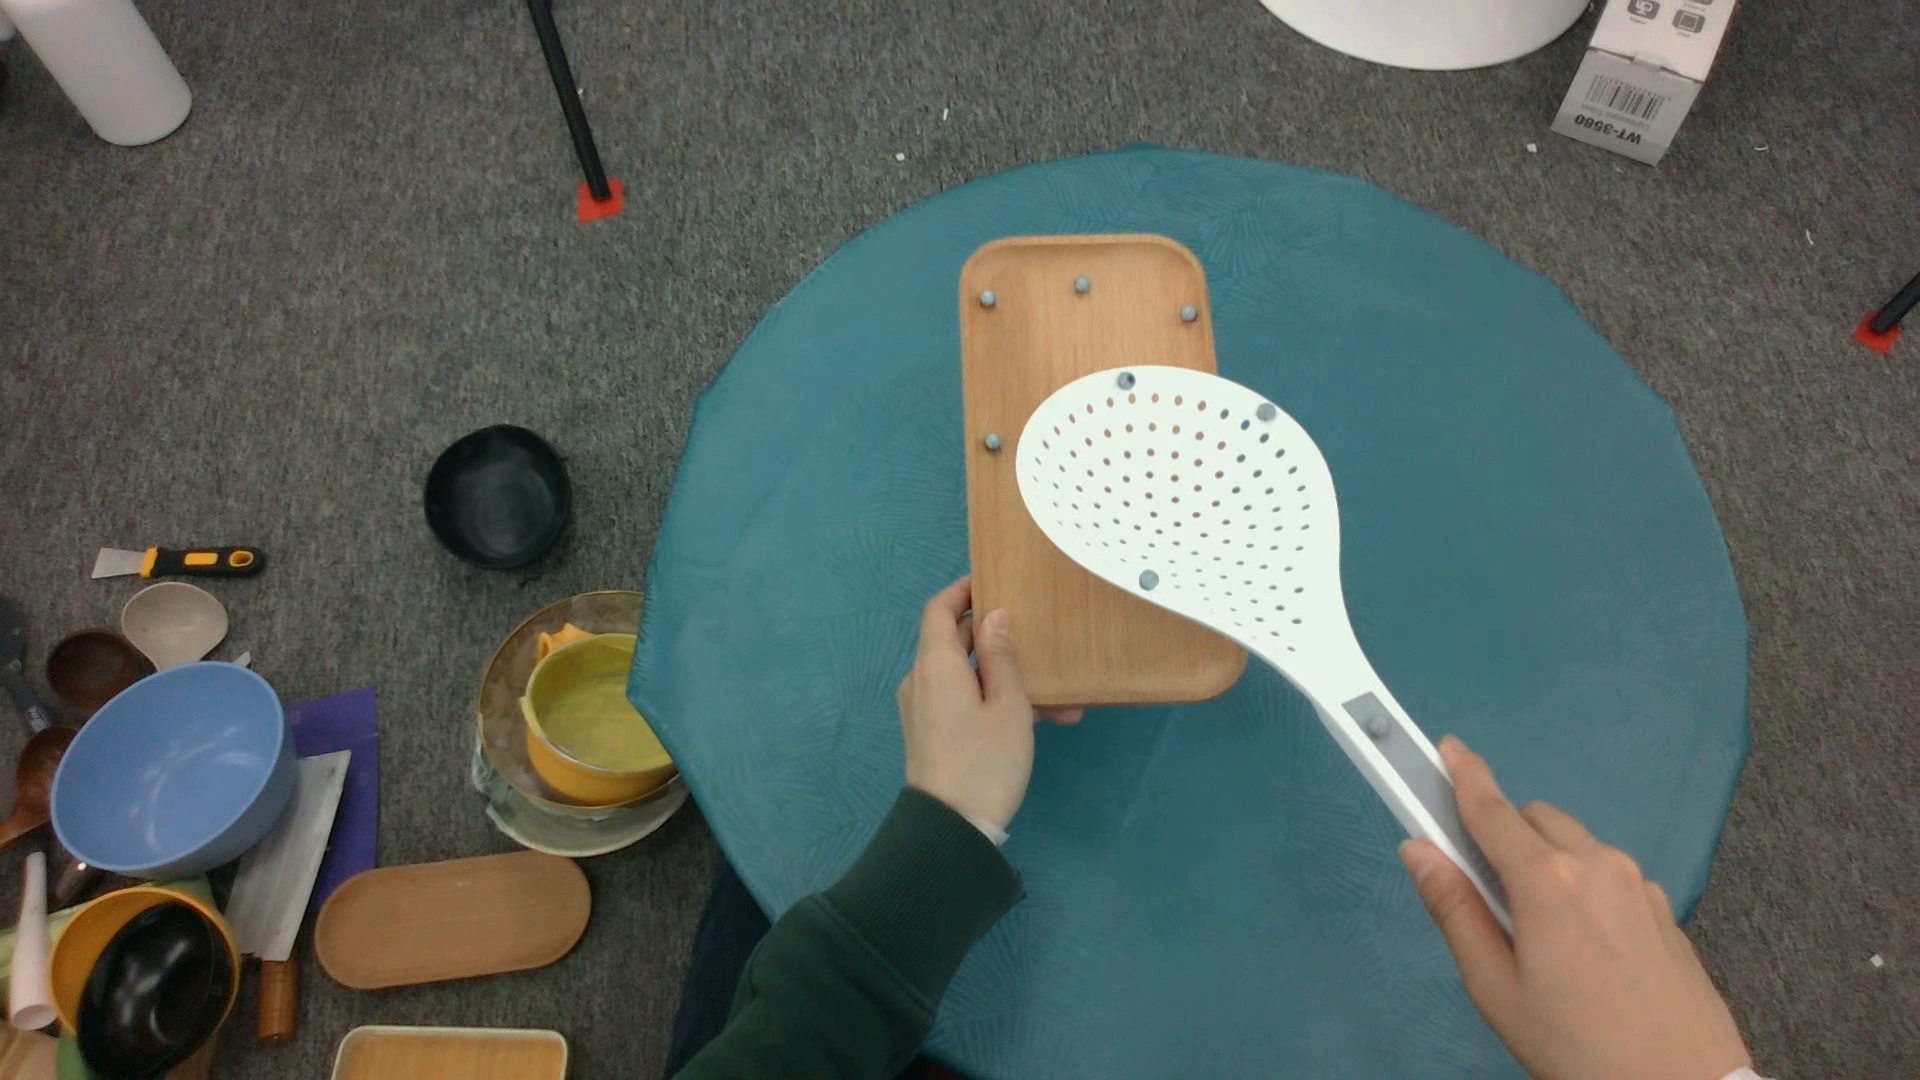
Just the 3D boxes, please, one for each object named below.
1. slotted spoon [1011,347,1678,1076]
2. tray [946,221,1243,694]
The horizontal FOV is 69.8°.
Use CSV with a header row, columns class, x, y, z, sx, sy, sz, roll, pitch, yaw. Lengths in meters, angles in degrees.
class,x,y,z,sx,sy,sz,roll,pitch,yaw
slotted spoon,0.140,0.044,0.535,0.136,0.045,0.350,-20,50,-20
tray,0.061,-0.047,0.670,0.130,0.023,0.251,-2,68,-1
